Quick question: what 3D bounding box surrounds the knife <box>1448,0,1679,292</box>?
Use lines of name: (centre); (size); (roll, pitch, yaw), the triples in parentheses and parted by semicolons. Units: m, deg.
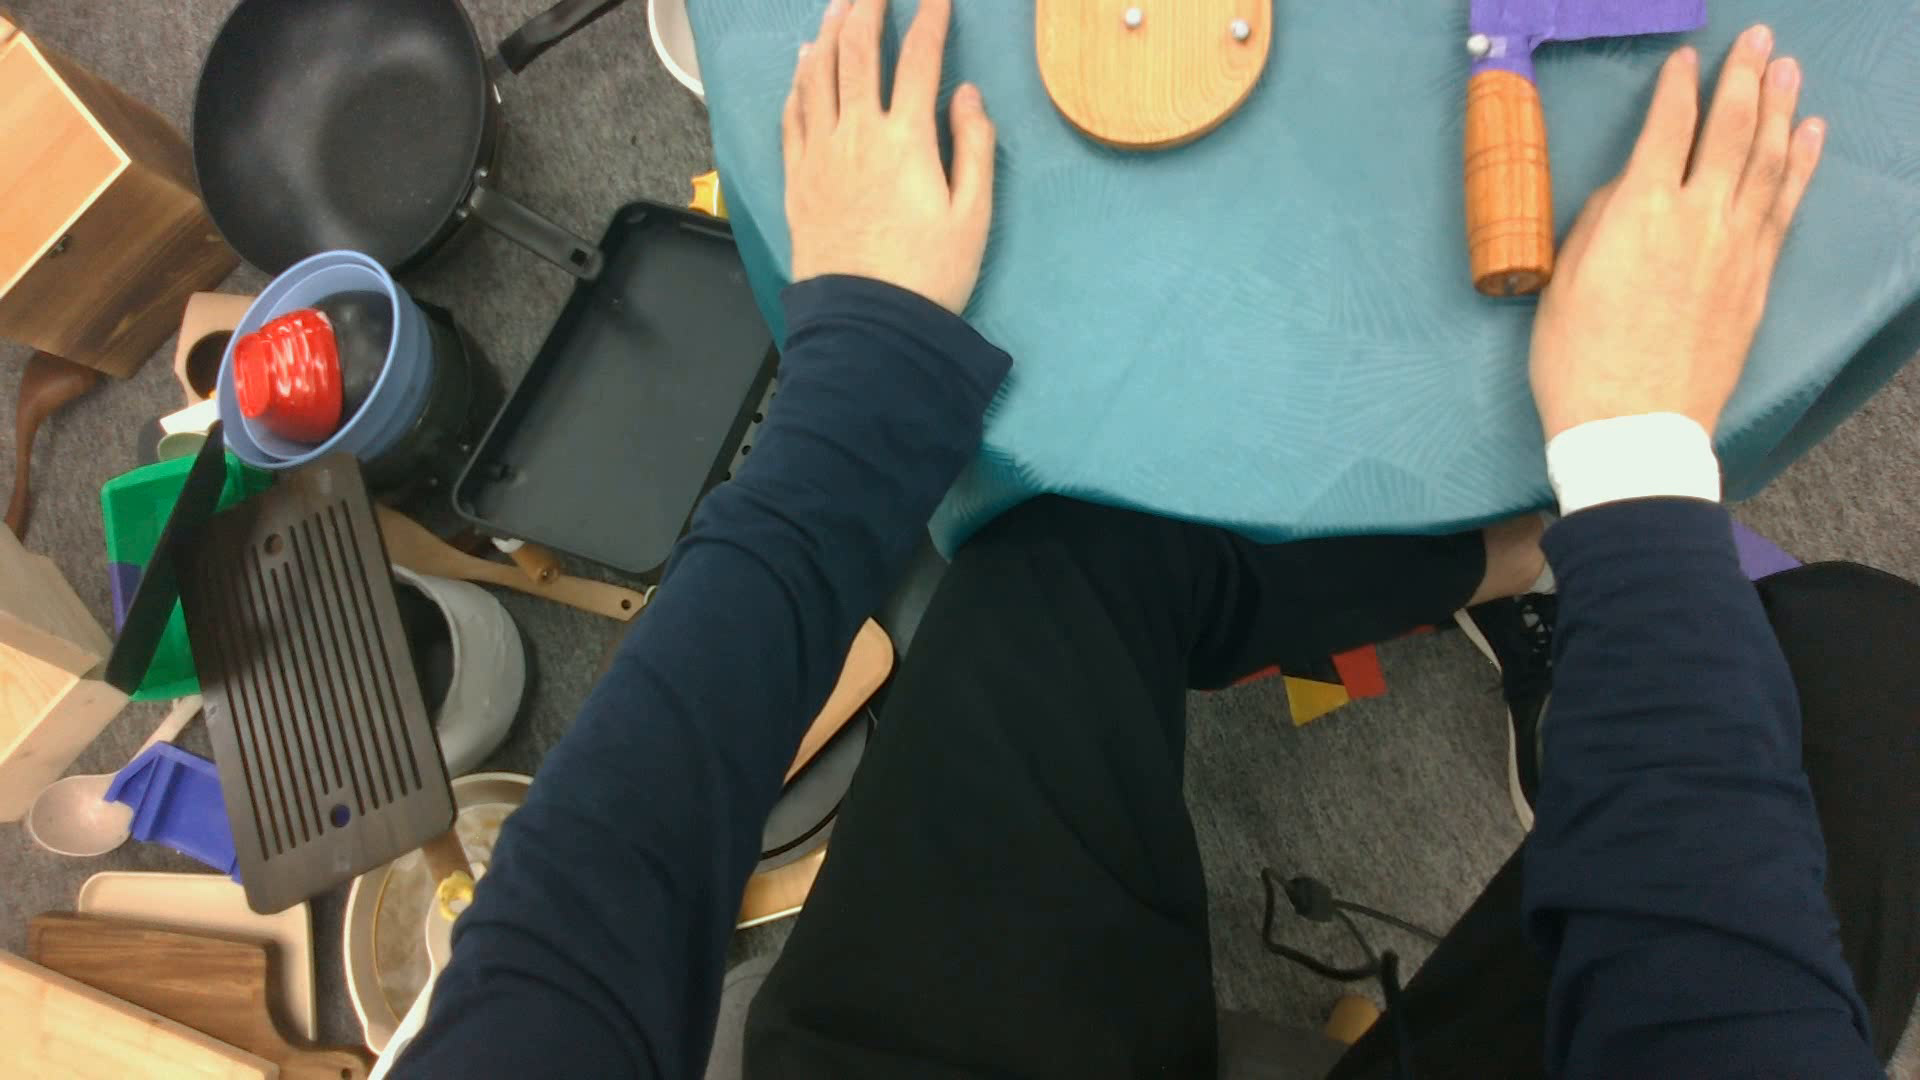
knife: (0.246, -0.258, 0.570); (0.104, 0.032, 0.316); (-2, 79, 11)

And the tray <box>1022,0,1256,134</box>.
tray: (0.078, -0.290, 0.614); (0.101, 0.020, 0.231); (-2, 78, 10)
